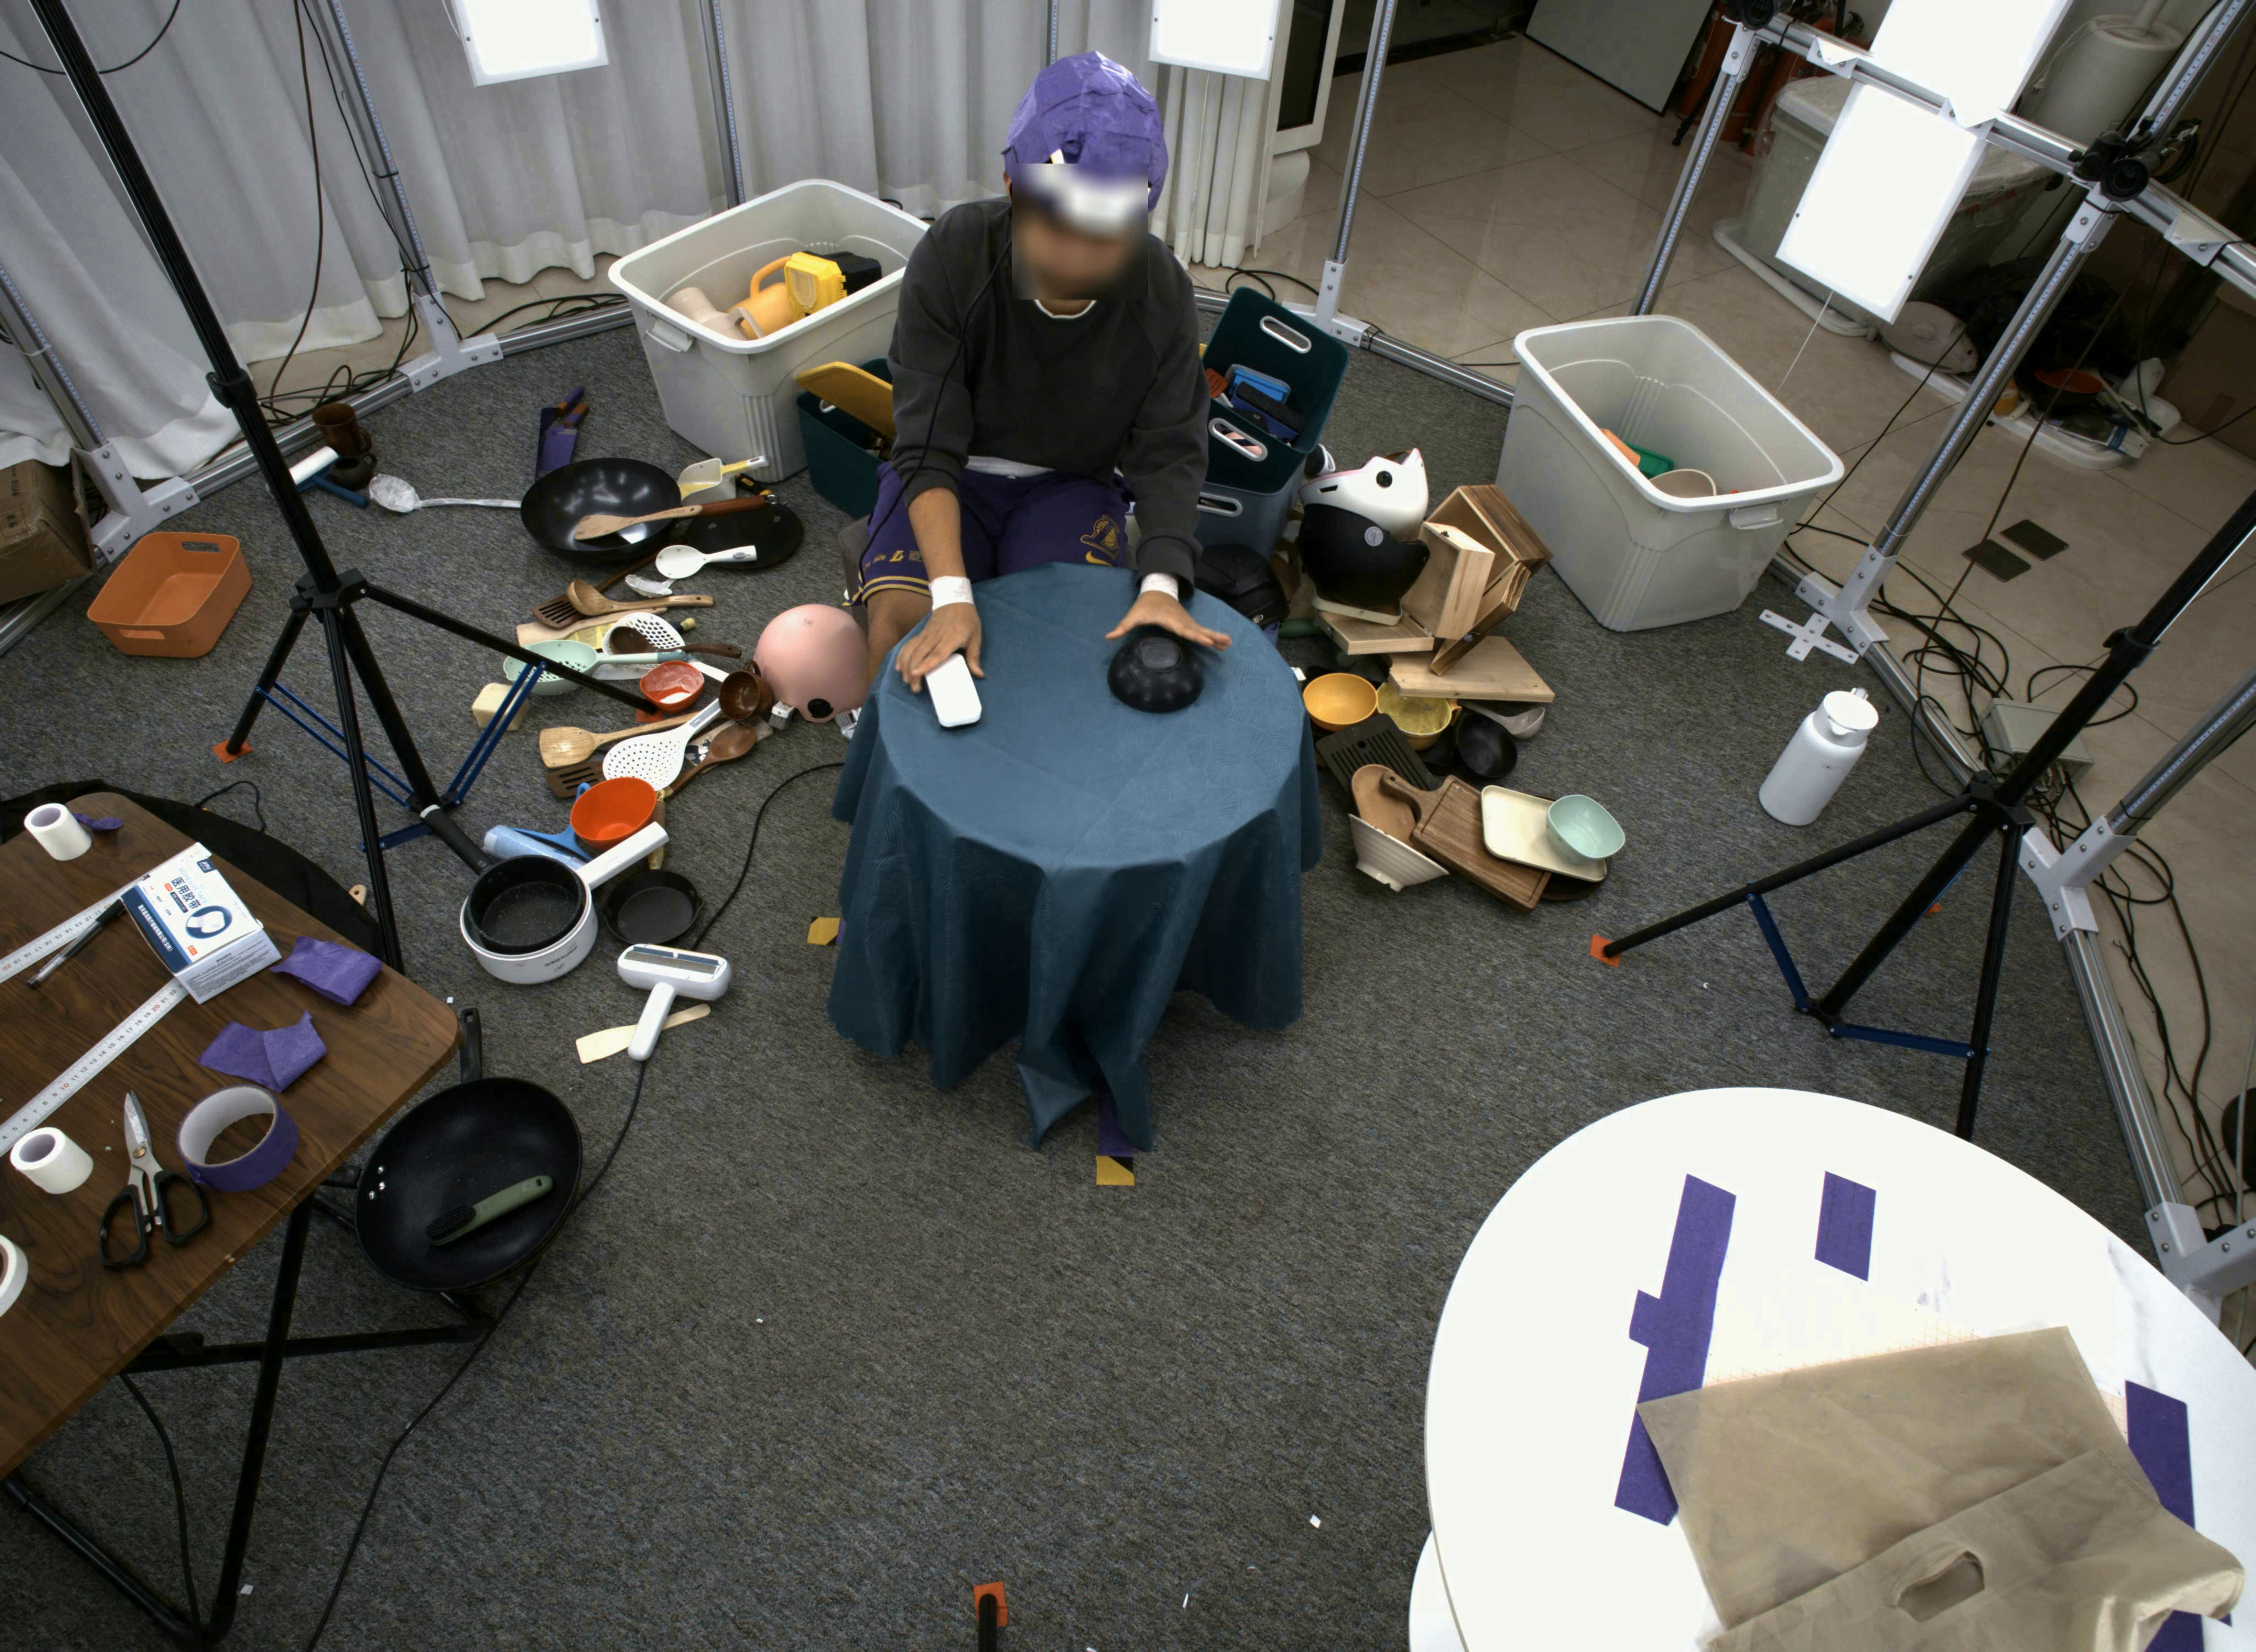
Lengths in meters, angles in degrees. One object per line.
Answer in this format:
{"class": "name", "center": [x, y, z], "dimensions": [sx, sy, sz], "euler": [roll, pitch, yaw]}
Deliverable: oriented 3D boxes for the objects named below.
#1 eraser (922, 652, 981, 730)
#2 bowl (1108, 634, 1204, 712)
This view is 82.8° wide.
{"class": "eraser", "center": [-0.245, -0.192, 1.795], "dimensions": [0.063, 0.034, 0.134], "euler": [-10, 52, -14]}
{"class": "bowl", "center": [0.041, -0.229, 1.835], "dimensions": [0.140, 0.048, 0.143], "euler": [1, 50, -2]}
